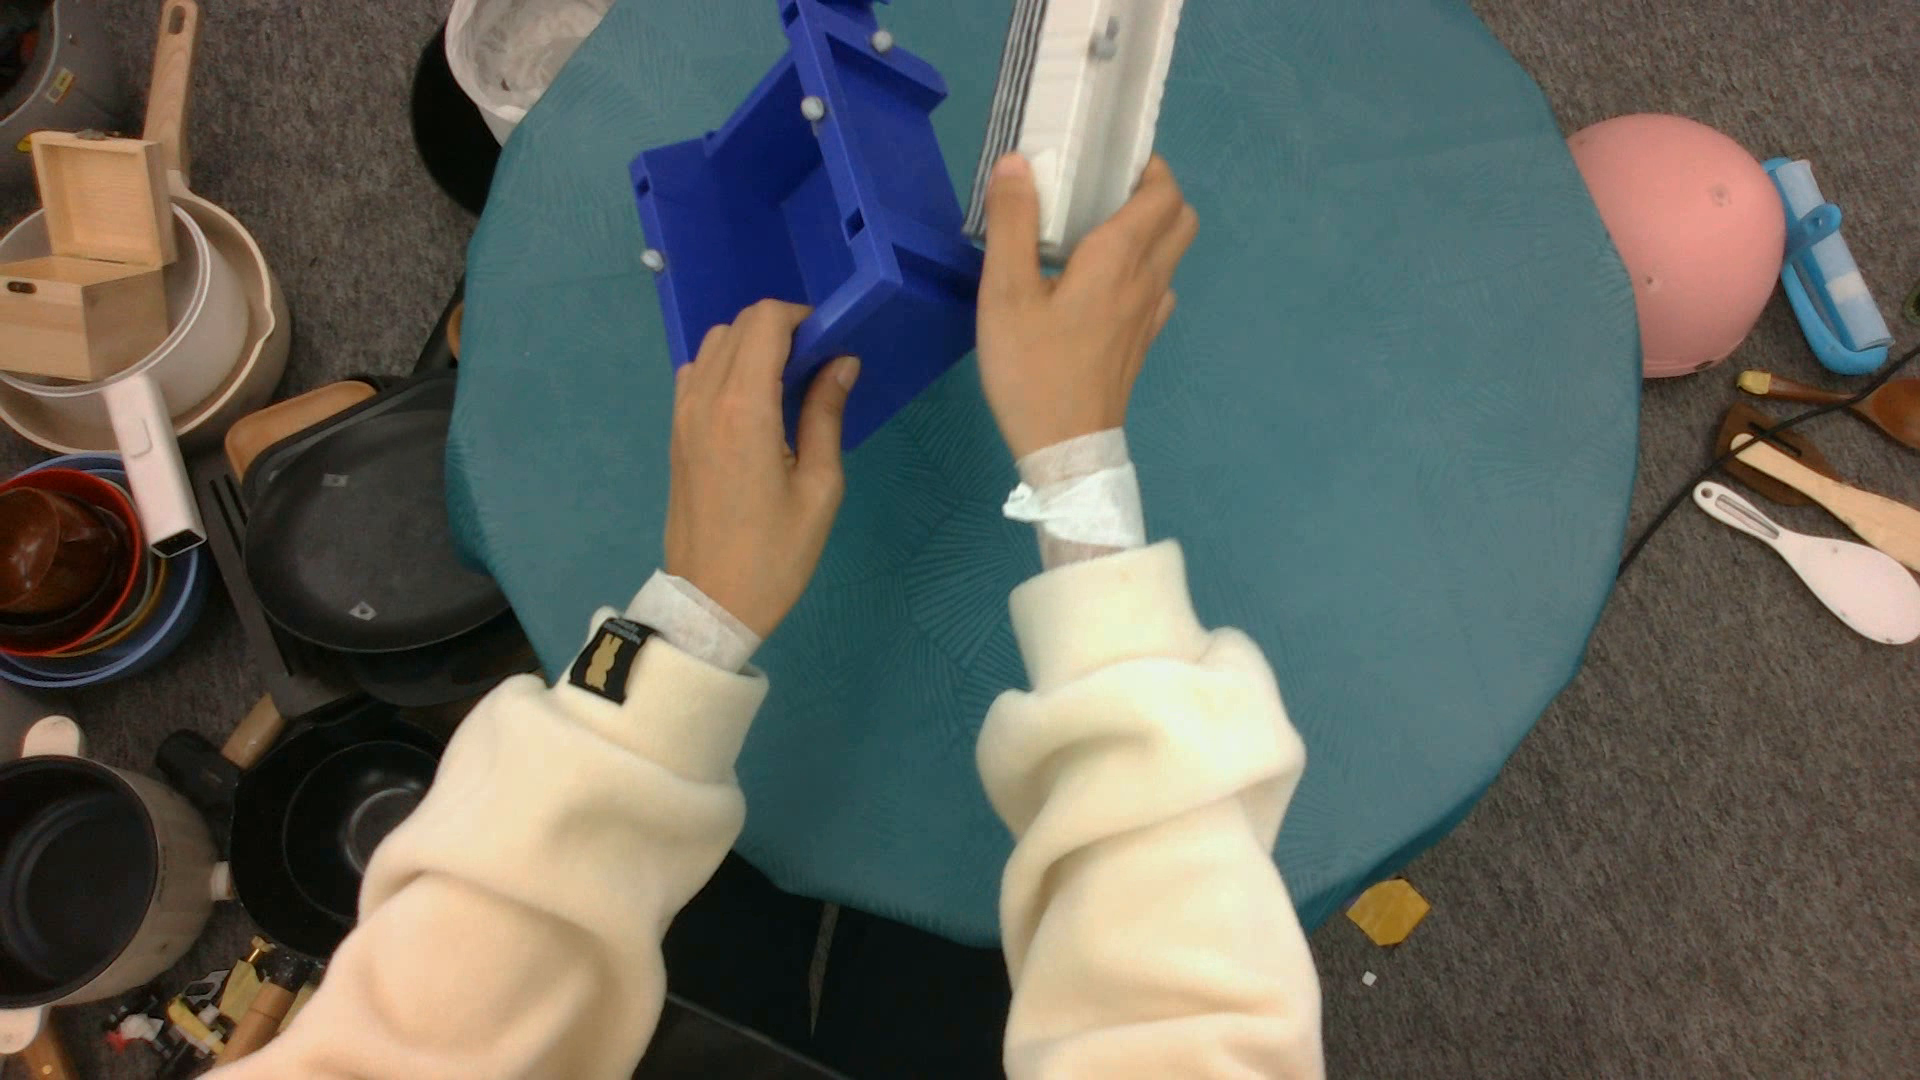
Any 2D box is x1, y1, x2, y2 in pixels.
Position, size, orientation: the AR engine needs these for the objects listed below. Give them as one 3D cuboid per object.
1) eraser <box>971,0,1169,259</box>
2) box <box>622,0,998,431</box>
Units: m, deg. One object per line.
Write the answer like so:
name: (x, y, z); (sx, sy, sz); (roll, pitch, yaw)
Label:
eraser: (0.043, -0.178, 0.518); (0.046, 0.050, 0.134); (11, 92, 41)
box: (-0.070, -0.144, 0.578); (0.082, 0.124, 0.180); (10, 55, -45)
